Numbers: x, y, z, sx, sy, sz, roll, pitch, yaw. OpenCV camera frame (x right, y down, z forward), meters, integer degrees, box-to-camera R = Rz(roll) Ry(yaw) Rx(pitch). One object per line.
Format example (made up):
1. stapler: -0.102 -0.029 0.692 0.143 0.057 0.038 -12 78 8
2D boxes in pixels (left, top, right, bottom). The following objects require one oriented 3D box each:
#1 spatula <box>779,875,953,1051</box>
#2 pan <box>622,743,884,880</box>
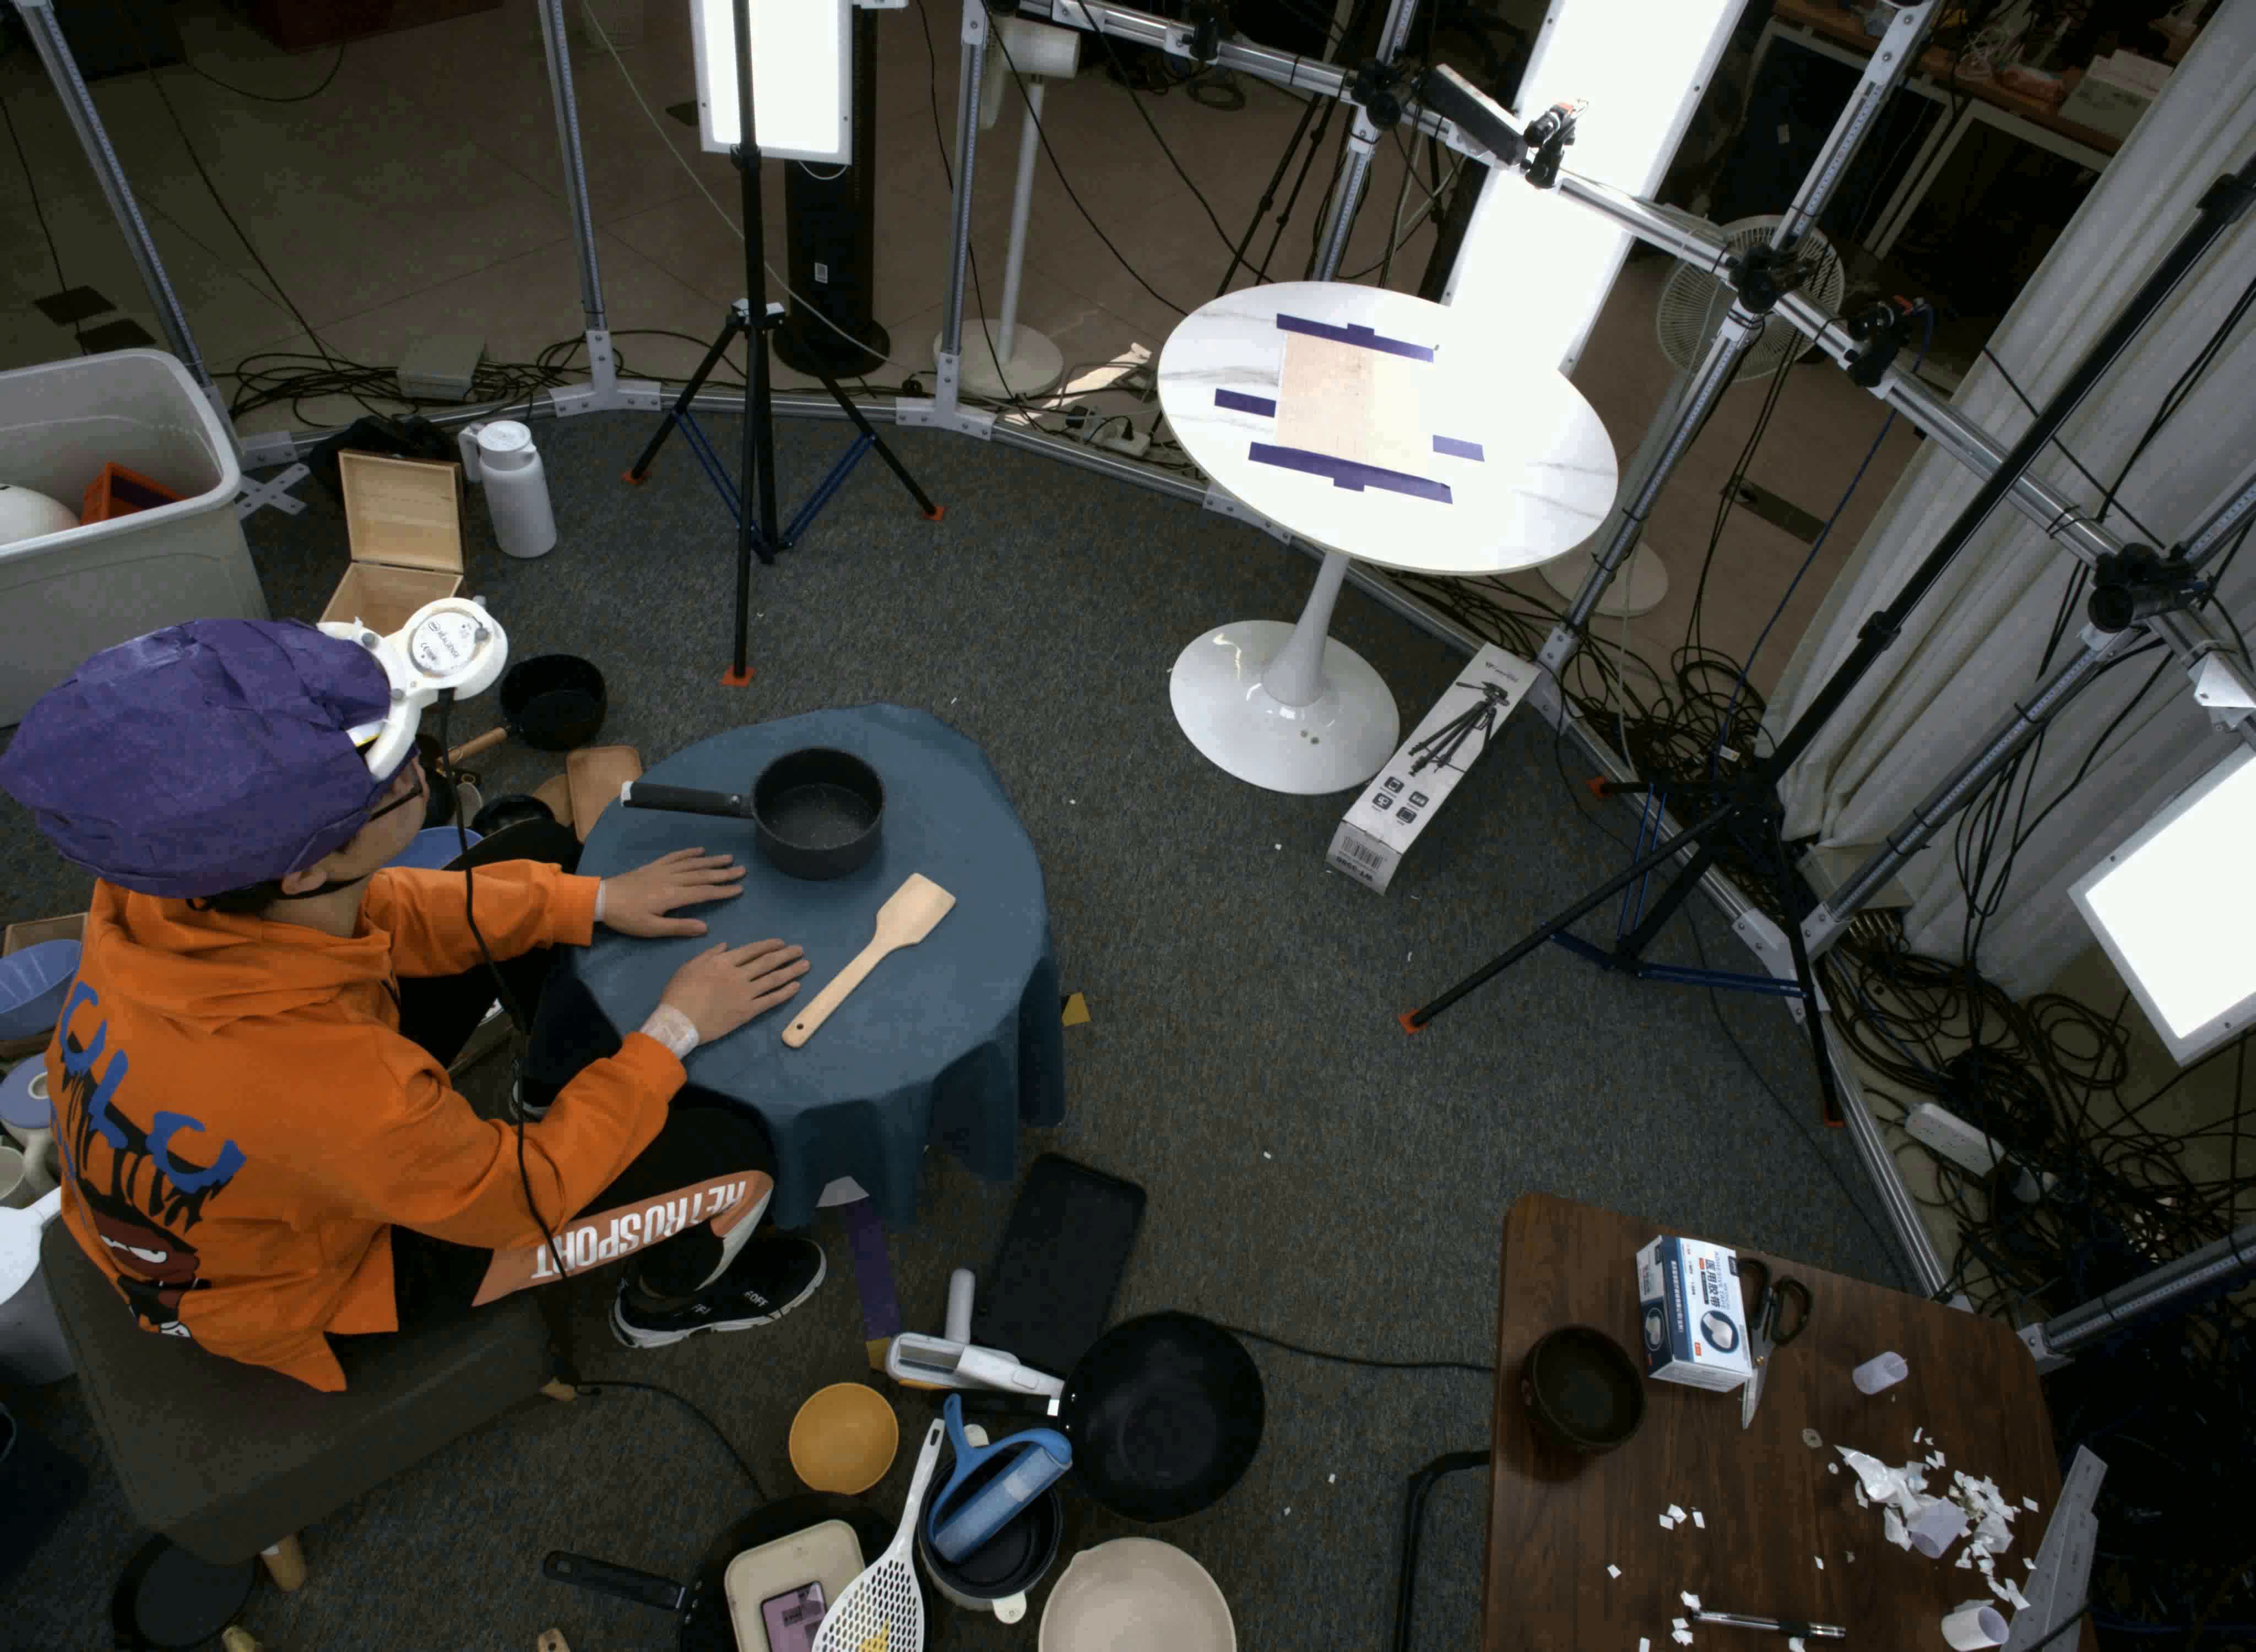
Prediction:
1. spatula: -0.326 0.169 1.607 0.071 0.011 0.292 35 53 7
2. pan: -0.480 -0.022 1.661 0.329 0.088 0.168 3 52 -14
